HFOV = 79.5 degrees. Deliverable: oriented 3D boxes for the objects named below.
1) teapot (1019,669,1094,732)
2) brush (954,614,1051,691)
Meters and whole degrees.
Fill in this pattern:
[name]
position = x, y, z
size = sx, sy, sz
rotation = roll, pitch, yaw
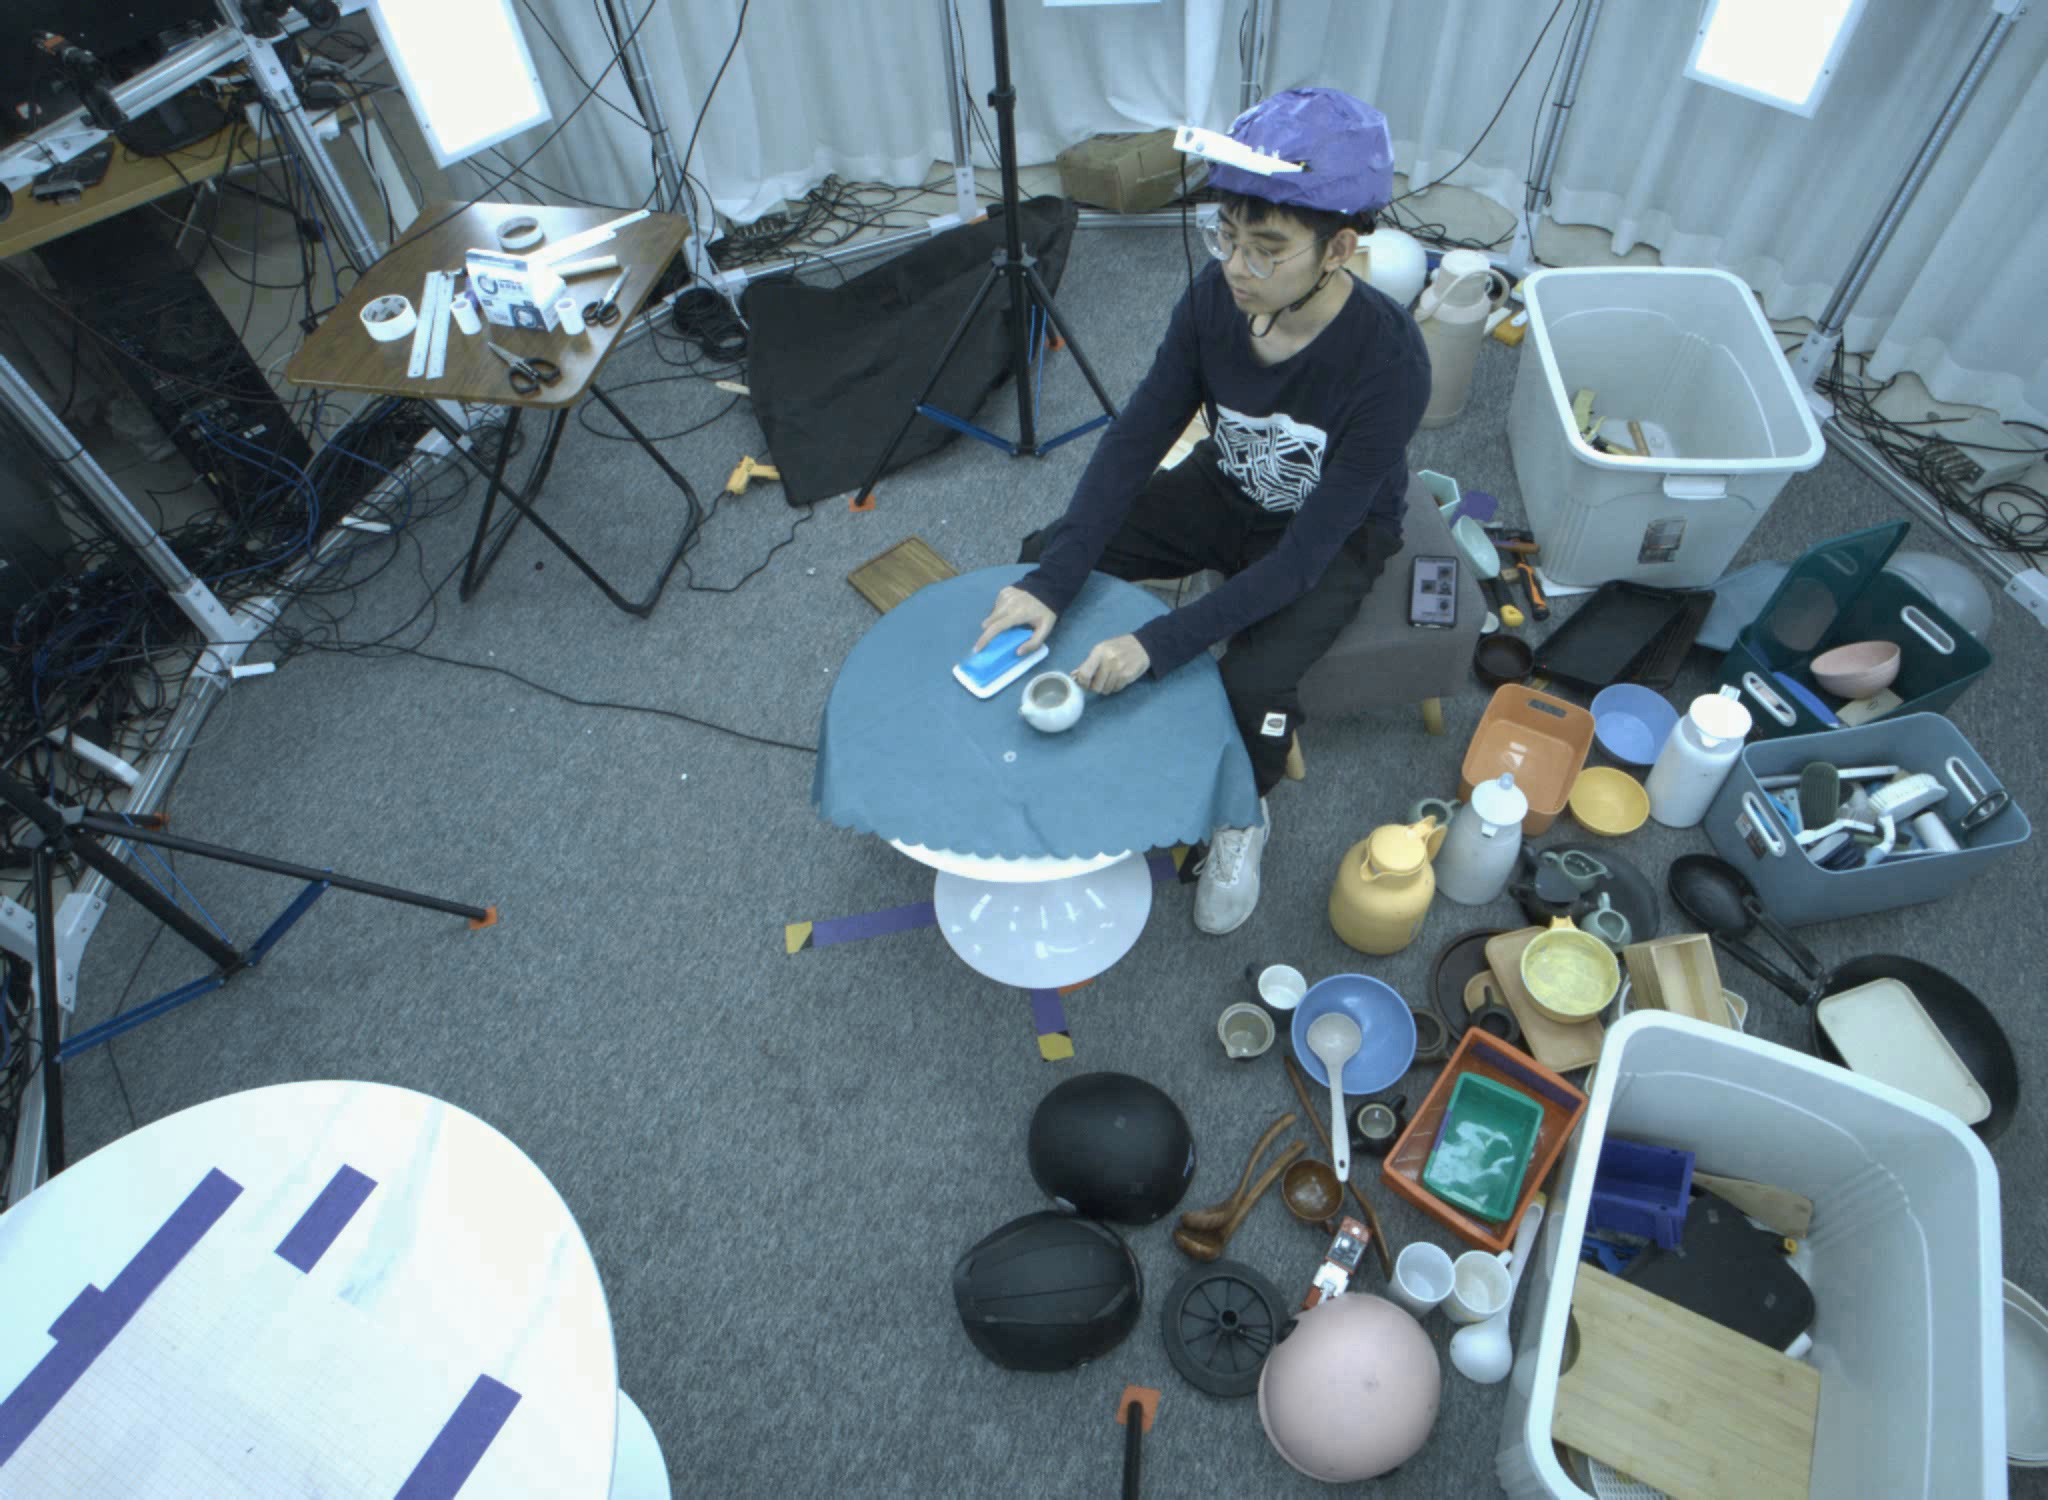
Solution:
[teapot]
position = 0.049, -0.075, 1.789
size = 0.128, 0.060, 0.090
rotation = -36, 58, -10
[brush]
position = -0.033, -0.155, 1.854
size = 0.145, 0.056, 0.082
rotation = -36, 64, -18
